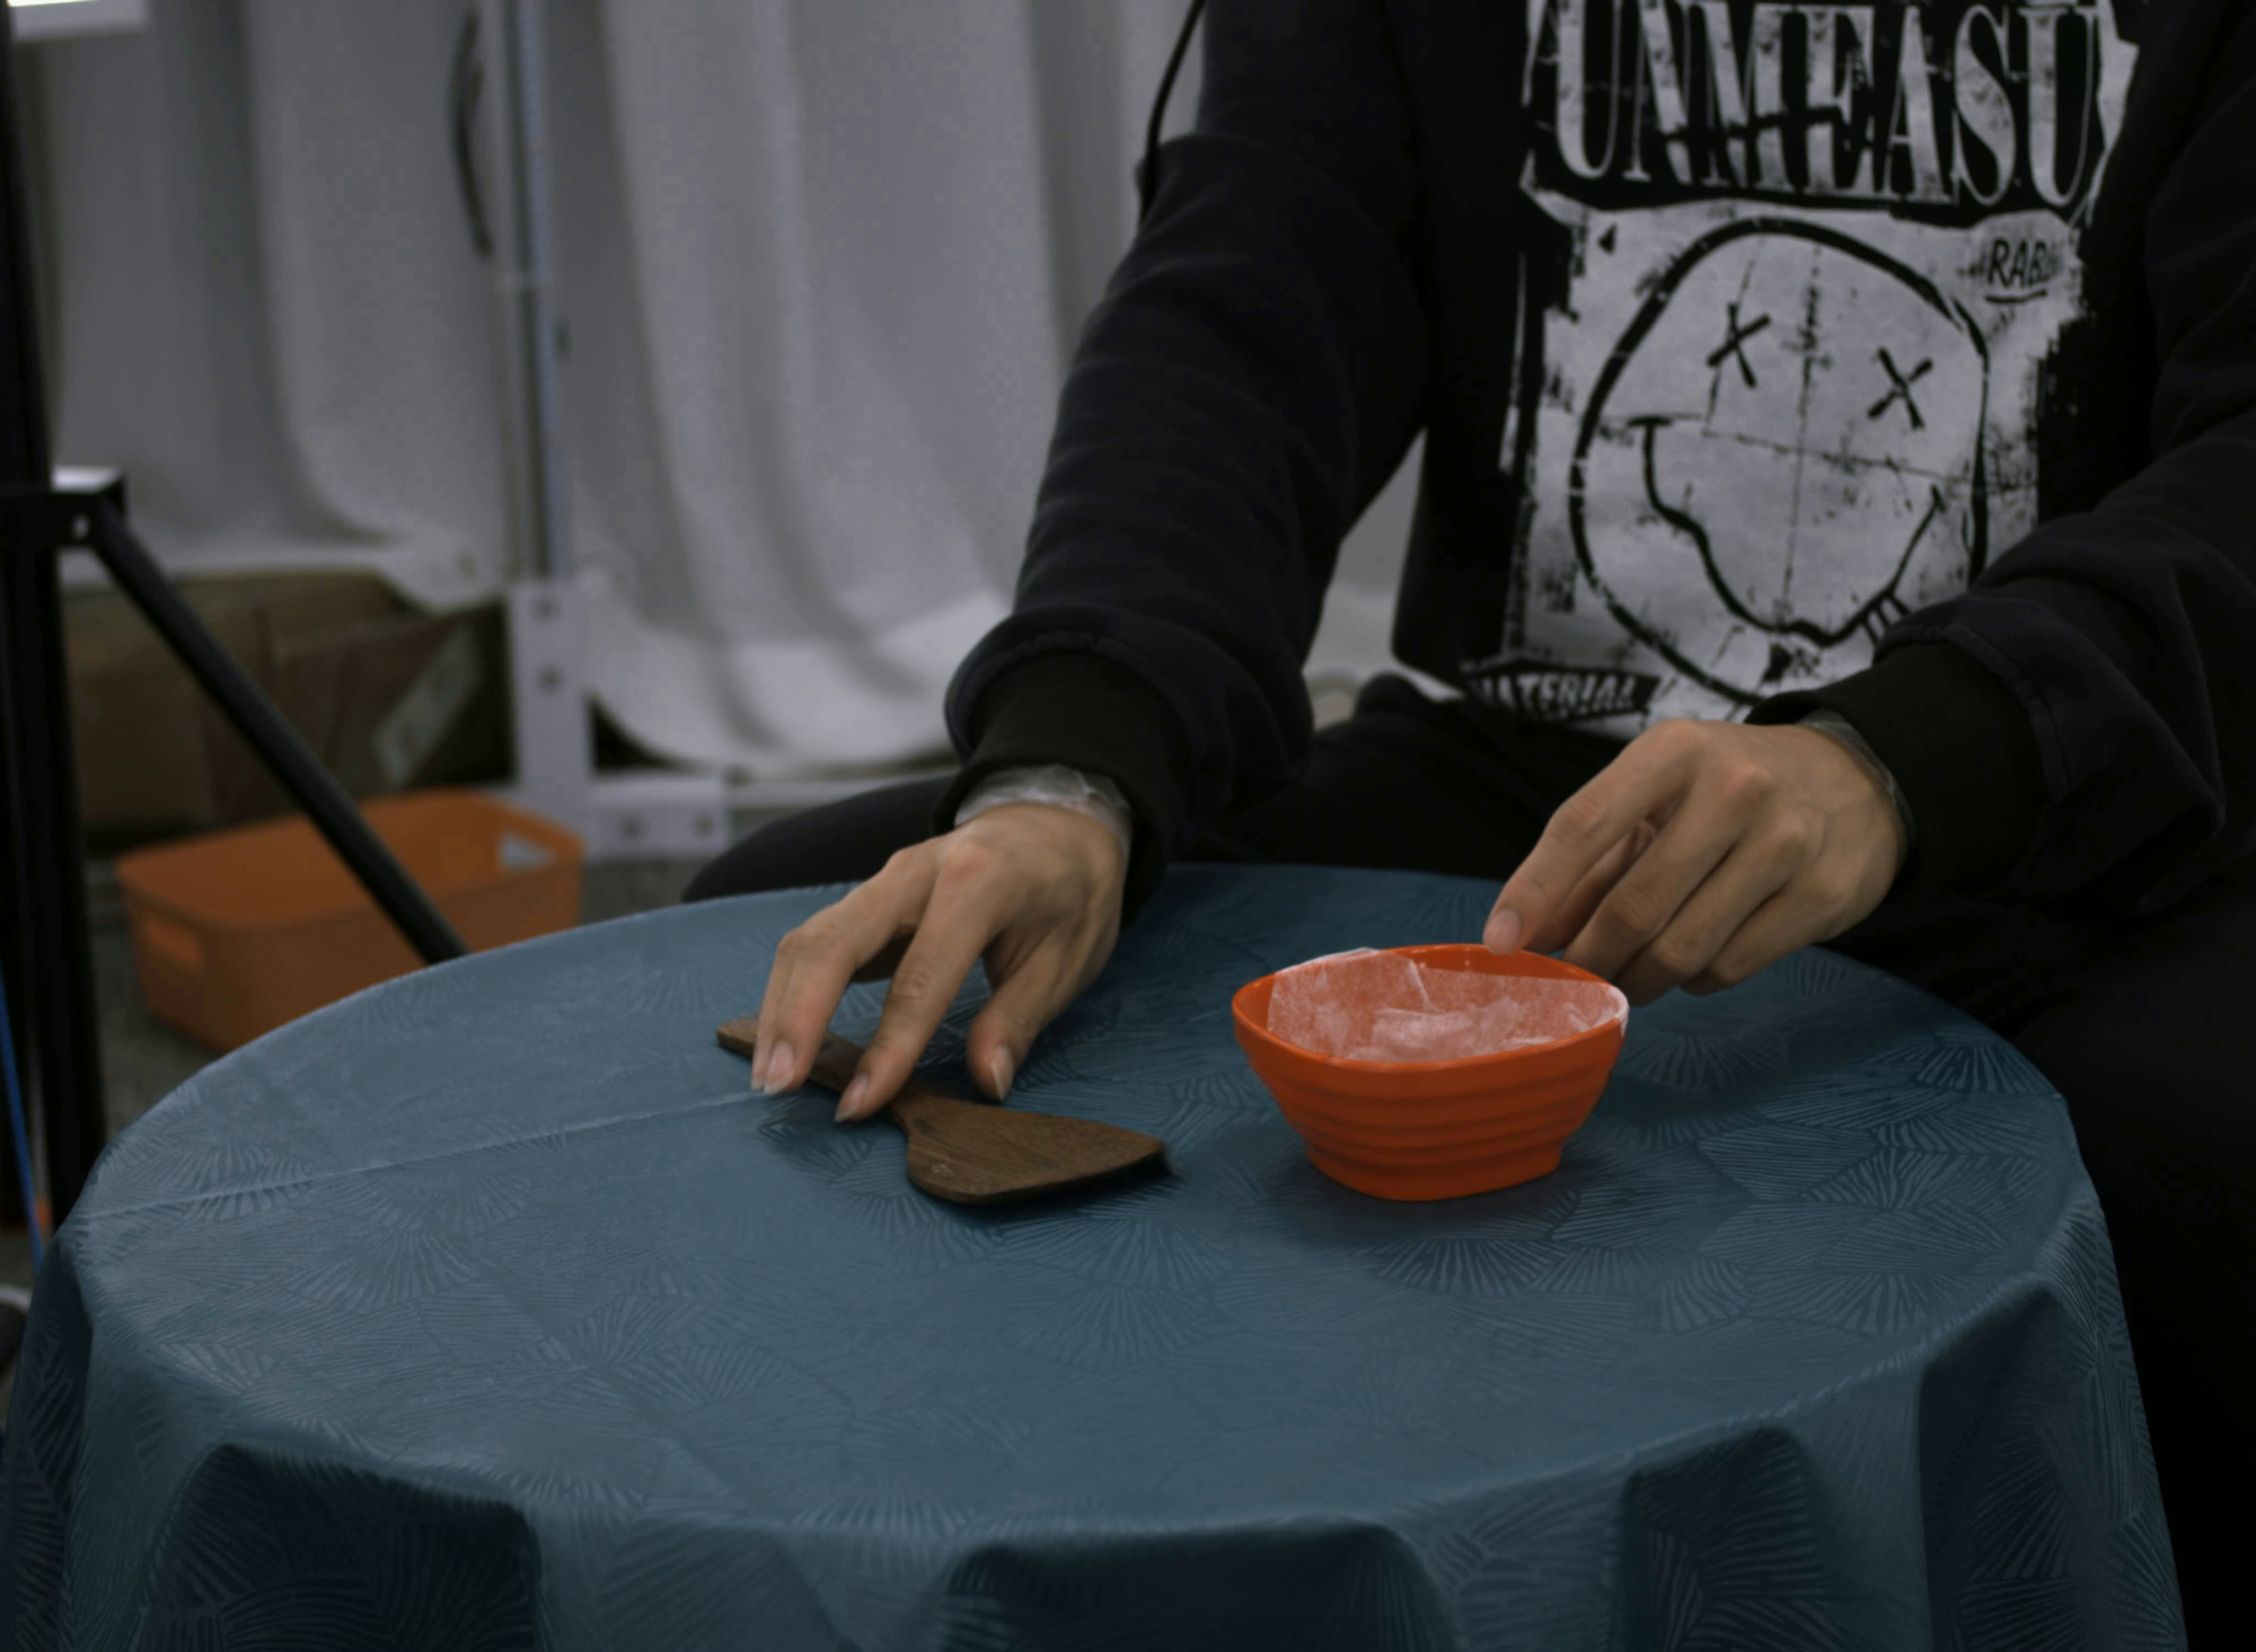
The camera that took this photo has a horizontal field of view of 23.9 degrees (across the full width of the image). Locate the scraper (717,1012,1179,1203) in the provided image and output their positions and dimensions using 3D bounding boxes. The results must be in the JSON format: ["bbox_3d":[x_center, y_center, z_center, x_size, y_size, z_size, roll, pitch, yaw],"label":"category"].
[{"bbox_3d":[-0.067,0.085,1.636,0.074,0.011,0.216,-10,17,-30],"label":"scraper"}]

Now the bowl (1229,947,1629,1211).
[{"bbox_3d":[0.089,0.077,1.565,0.118,0.051,0.119,-4,16,0],"label":"bowl"}]
